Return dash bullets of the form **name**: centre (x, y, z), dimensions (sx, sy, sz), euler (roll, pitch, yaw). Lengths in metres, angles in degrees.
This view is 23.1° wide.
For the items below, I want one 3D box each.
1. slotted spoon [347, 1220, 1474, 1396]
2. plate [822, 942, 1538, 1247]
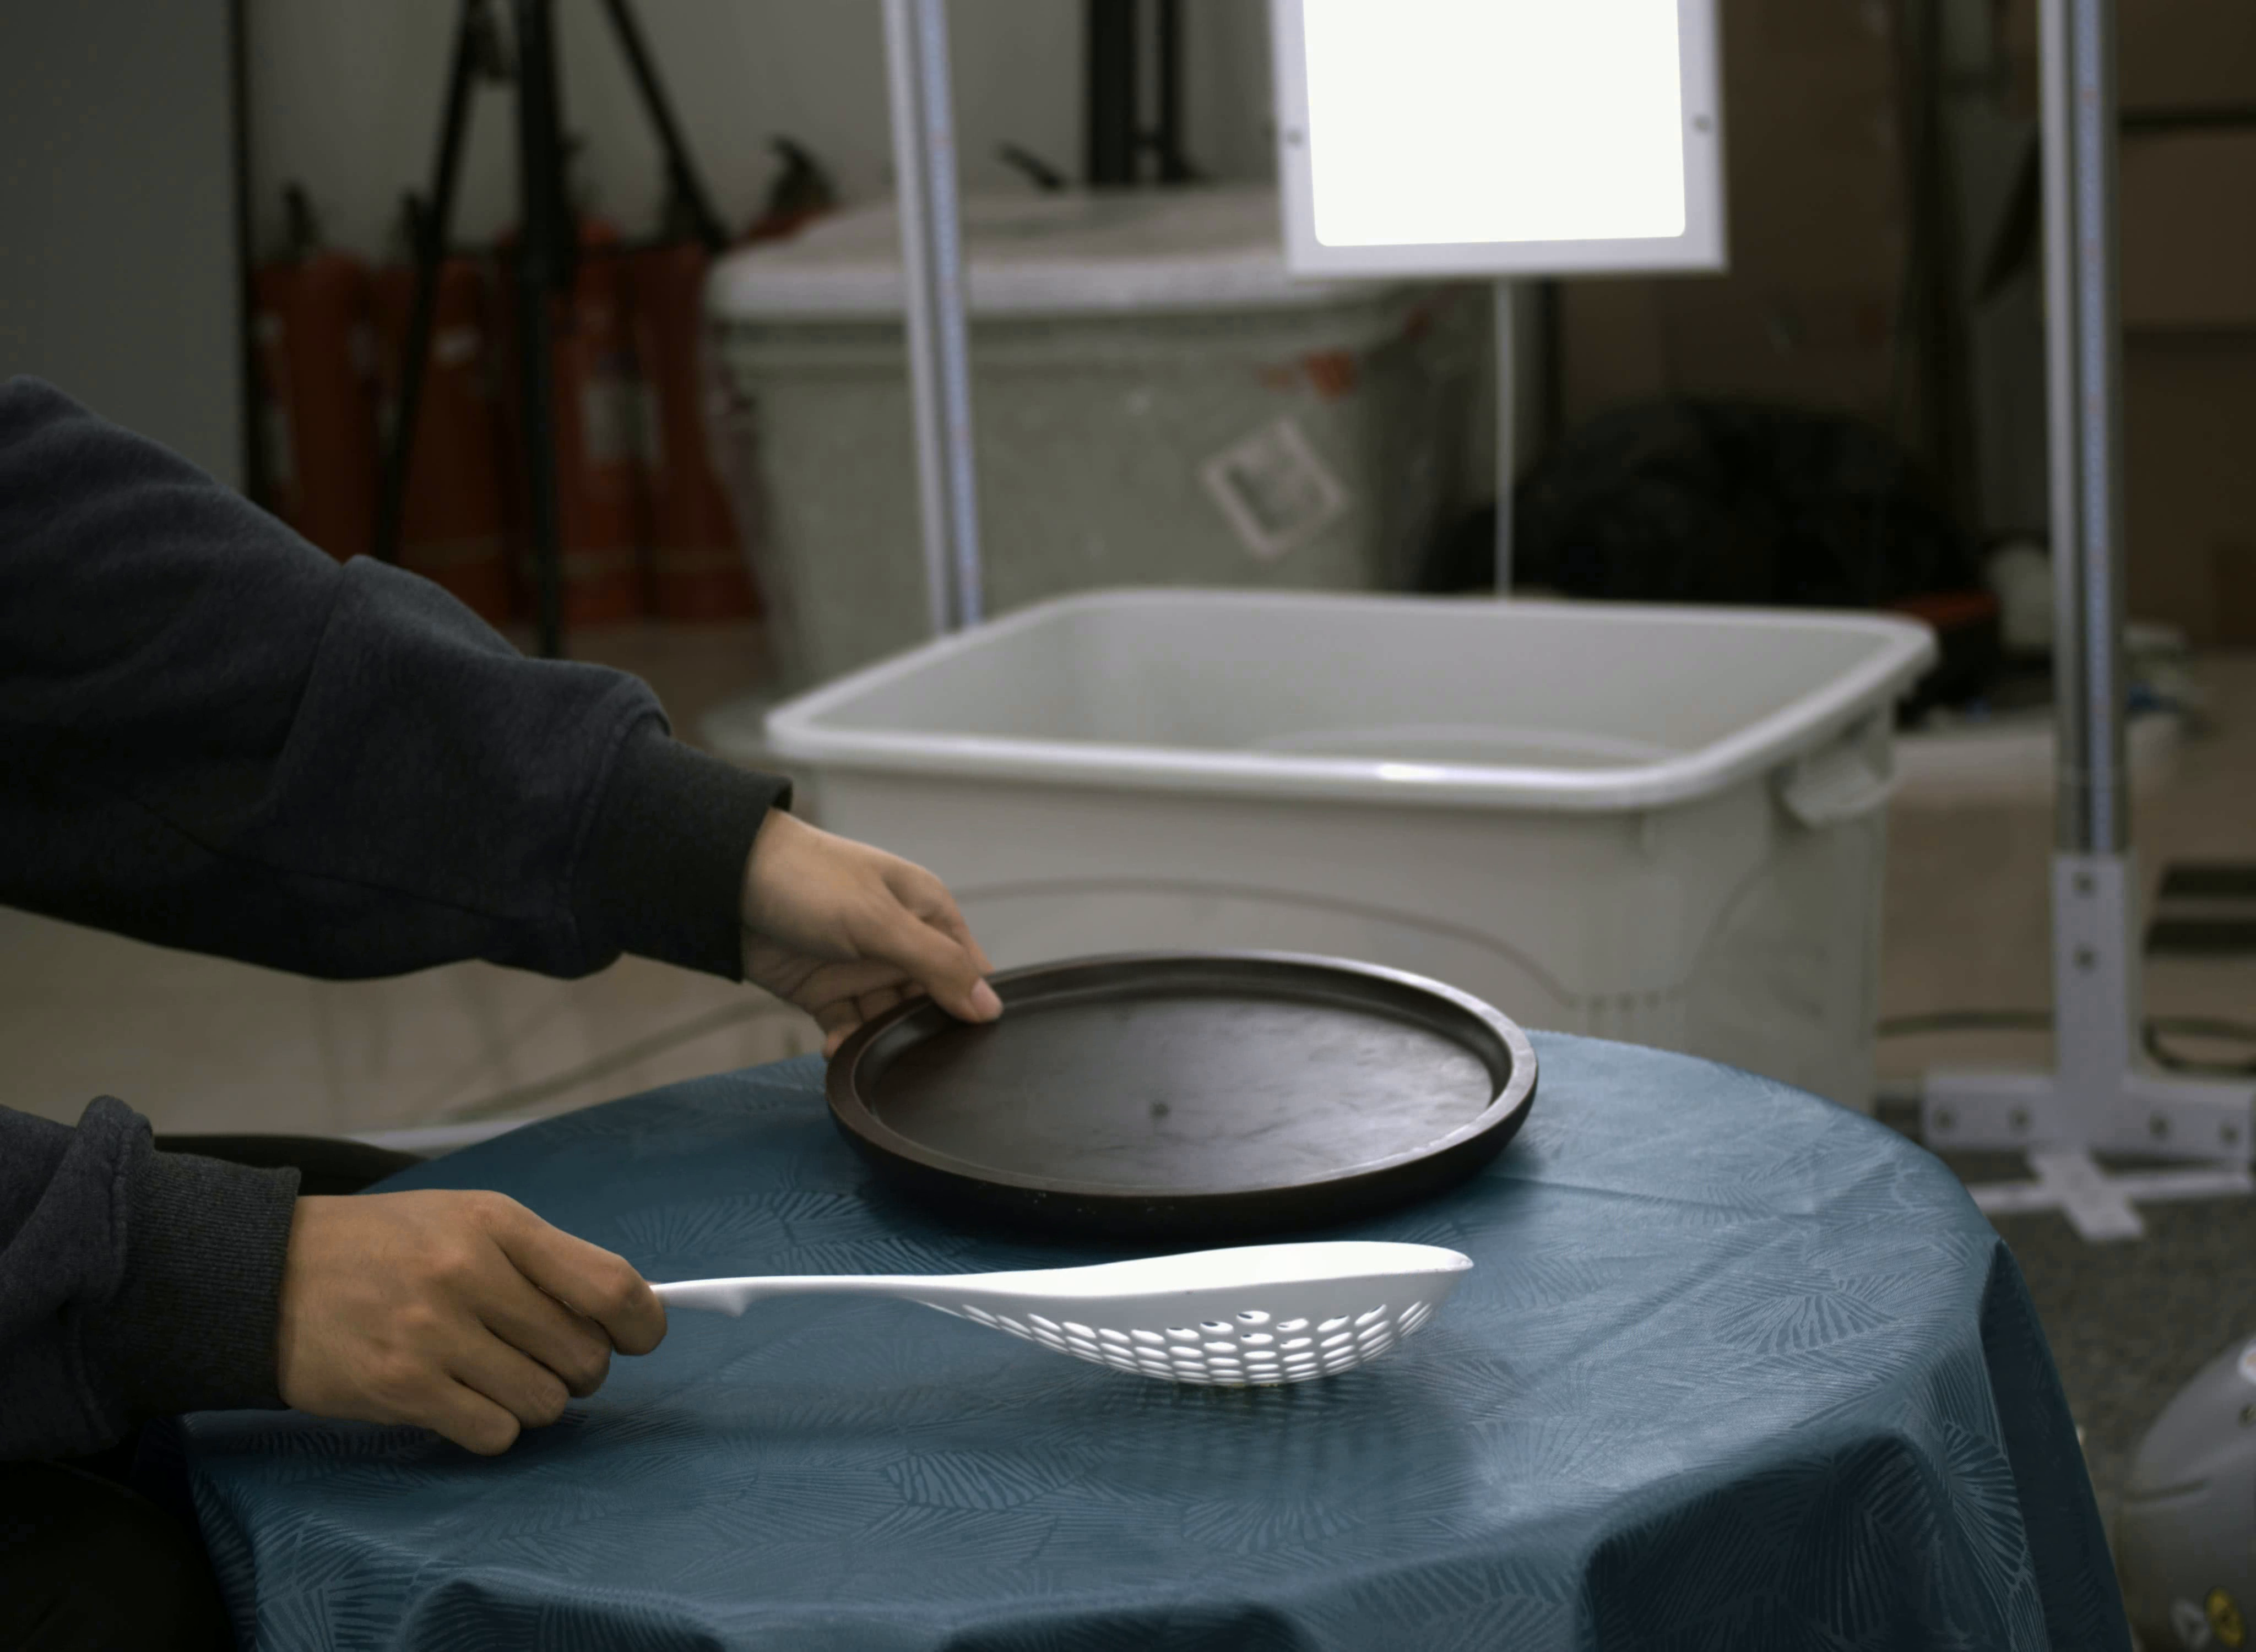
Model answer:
- **slotted spoon**: centre (-0.067, 0.151, 1.697), dimensions (0.348, 0.050, 0.136), euler (0, 2, 5)
- **plate**: centre (0.019, 0.094, 1.938), dimensions (0.254, 0.029, 0.254), euler (-3, 18, 0)
